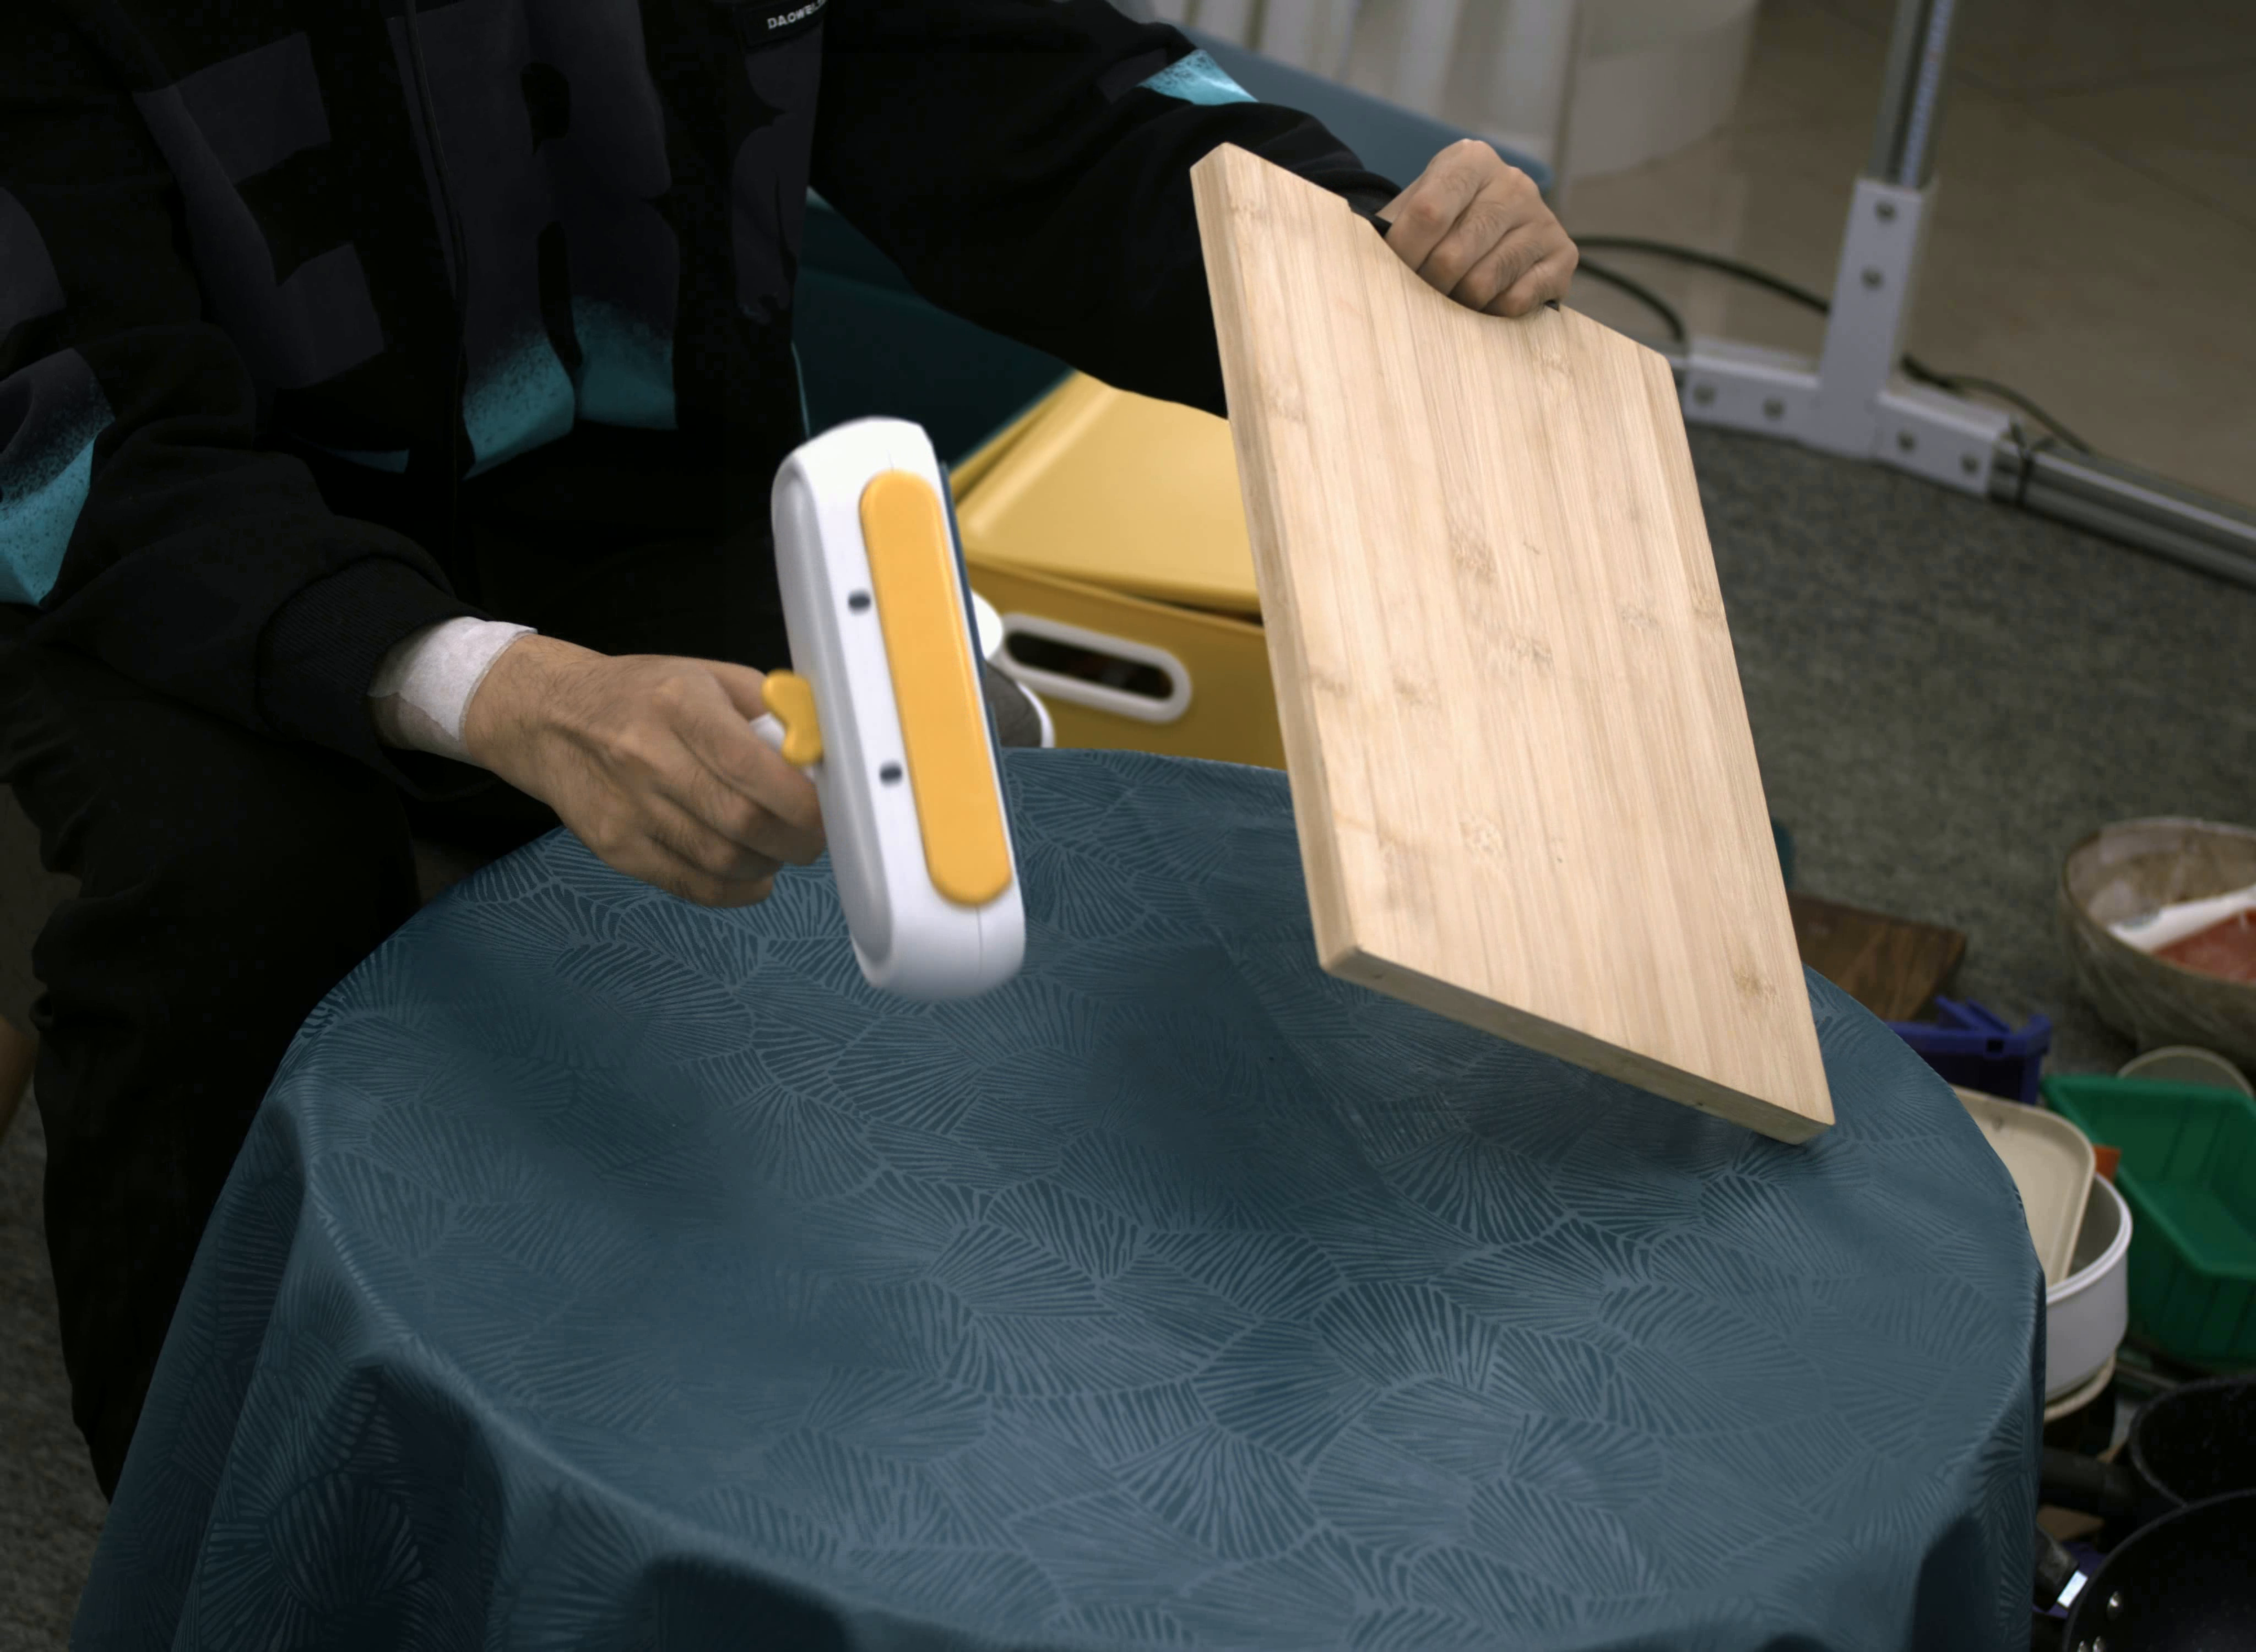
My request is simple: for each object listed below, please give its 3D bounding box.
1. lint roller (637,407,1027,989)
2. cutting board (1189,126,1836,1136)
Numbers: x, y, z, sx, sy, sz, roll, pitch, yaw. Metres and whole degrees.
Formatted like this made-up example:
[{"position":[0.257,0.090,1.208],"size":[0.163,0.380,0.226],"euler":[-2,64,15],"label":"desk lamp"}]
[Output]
[{"position":[-0.107,-0.024,1.778],"size":[0.074,0.194,0.192],"euler":[-12,-10,-27],"label":"lint roller"},{"position":[0.134,-0.070,1.893],"size":[0.248,0.023,0.352],"euler":[21,47,-38],"label":"cutting board"}]
